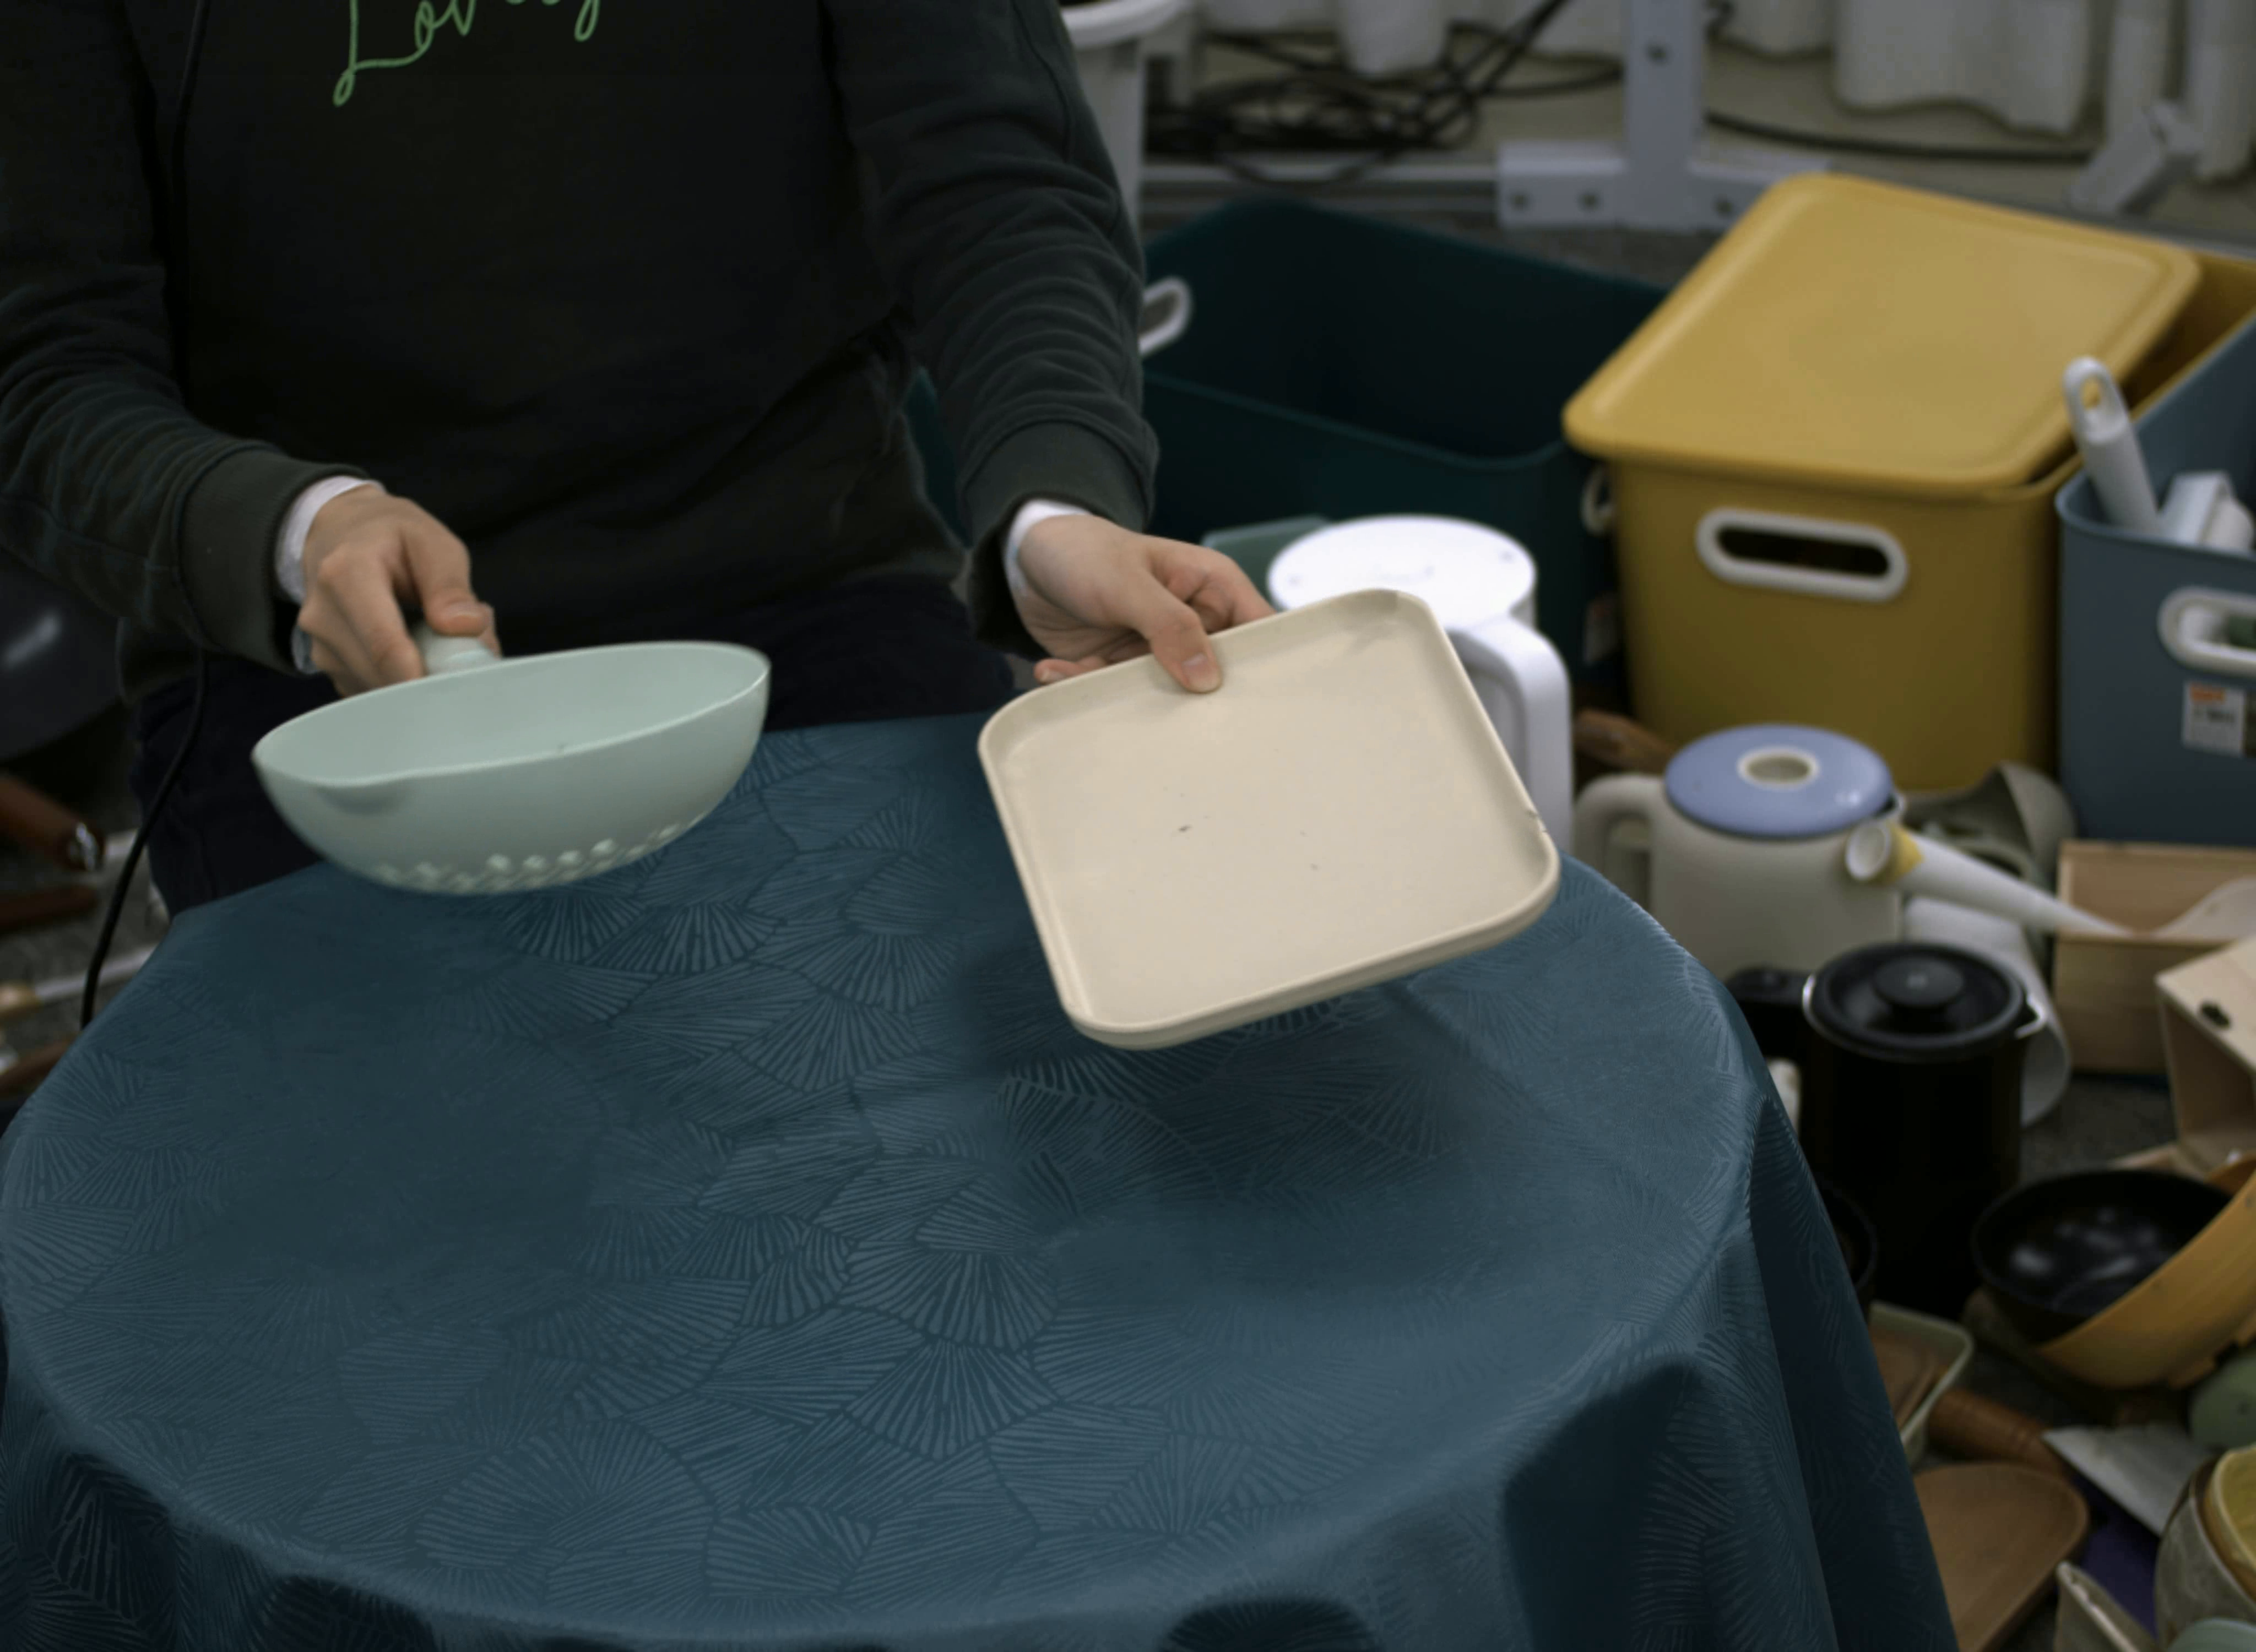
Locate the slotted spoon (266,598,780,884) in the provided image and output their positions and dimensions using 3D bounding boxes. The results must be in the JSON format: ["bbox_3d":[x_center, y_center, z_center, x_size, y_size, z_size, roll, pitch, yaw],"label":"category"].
[{"bbox_3d":[-0.217,-0.045,1.918,0.169,0.075,0.361,-11,19,-12],"label":"slotted spoon"}]

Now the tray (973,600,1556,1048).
[{"bbox_3d":[0.044,-0.002,1.908,0.171,0.017,0.242,-17,29,-3],"label":"tray"}]
